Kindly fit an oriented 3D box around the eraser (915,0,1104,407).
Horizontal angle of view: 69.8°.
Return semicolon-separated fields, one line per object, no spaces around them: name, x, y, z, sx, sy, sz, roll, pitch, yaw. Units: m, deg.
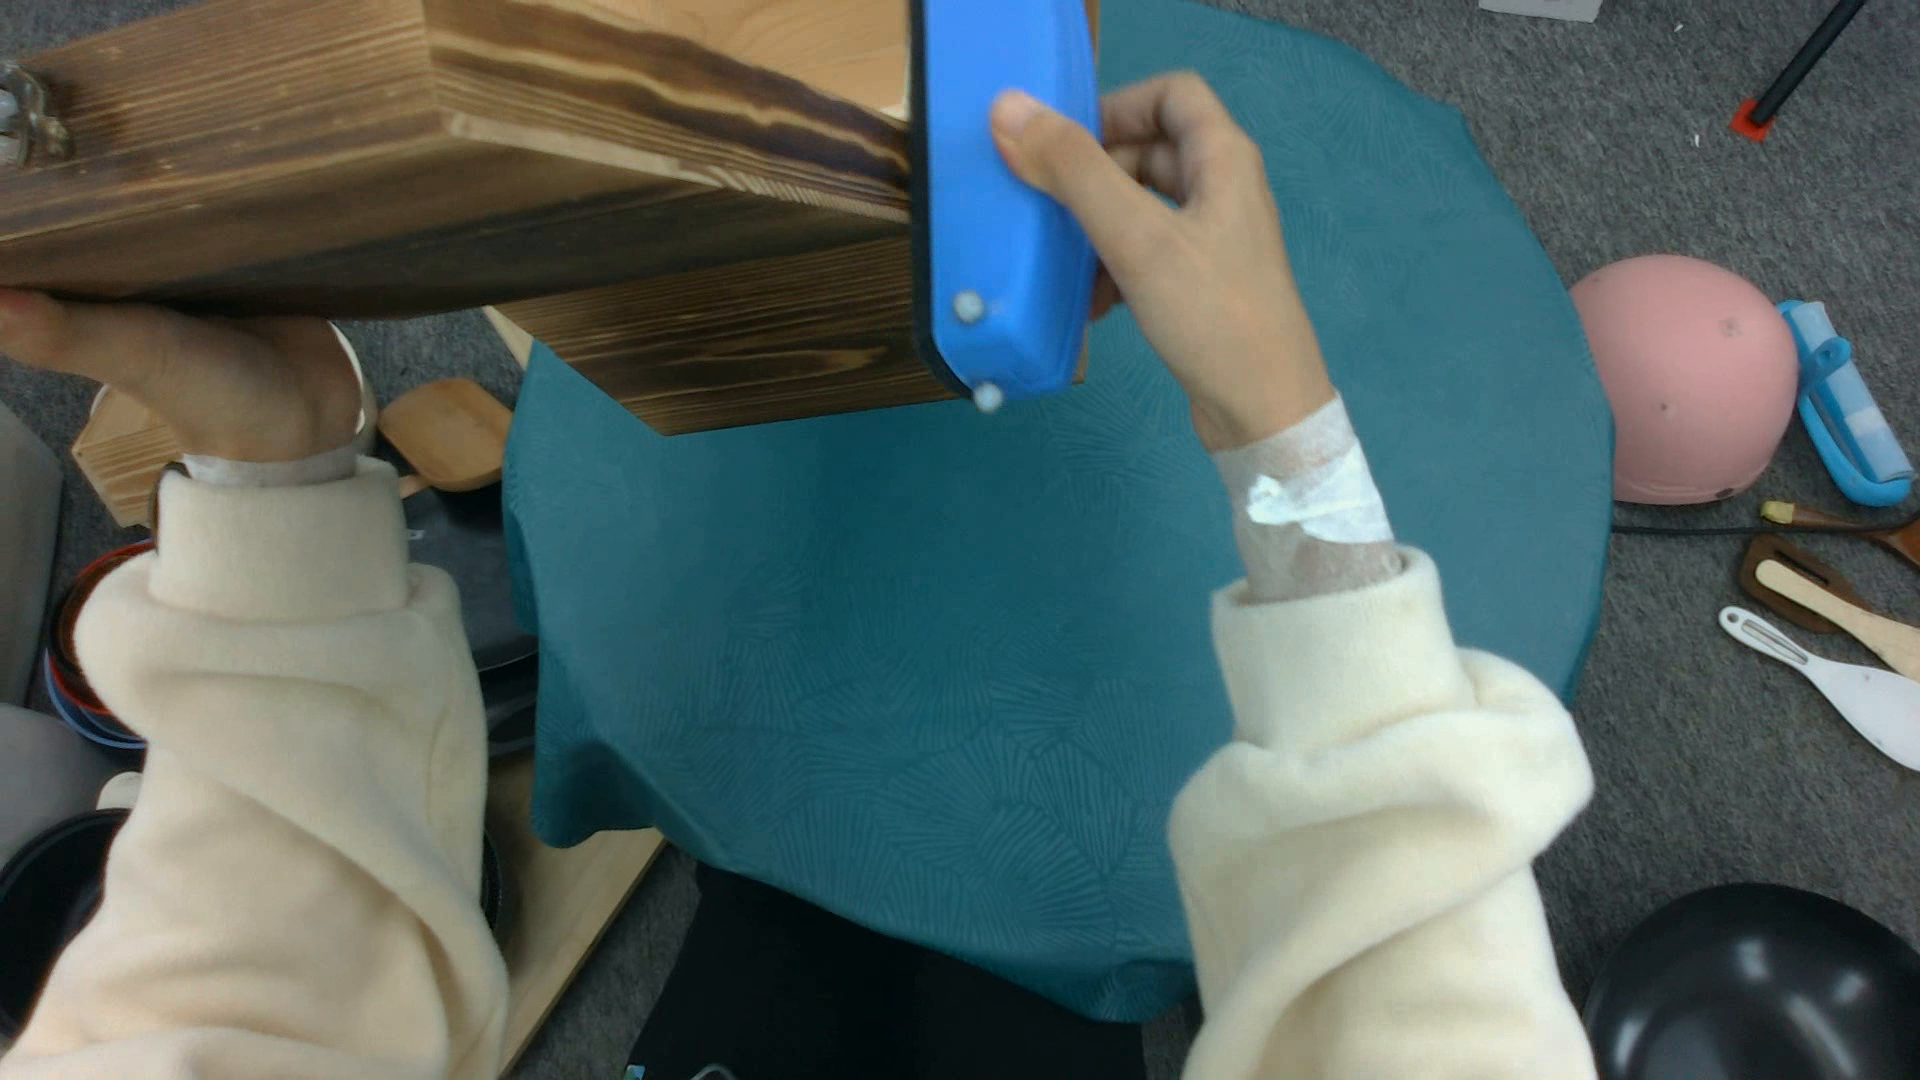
eraser;0.017;-0.123;0.427;0.047;0.054;0.162;-6;75;21

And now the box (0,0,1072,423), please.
box;-0.108;-0.169;0.454;0.208;0.375;0.323;-4;68;19
